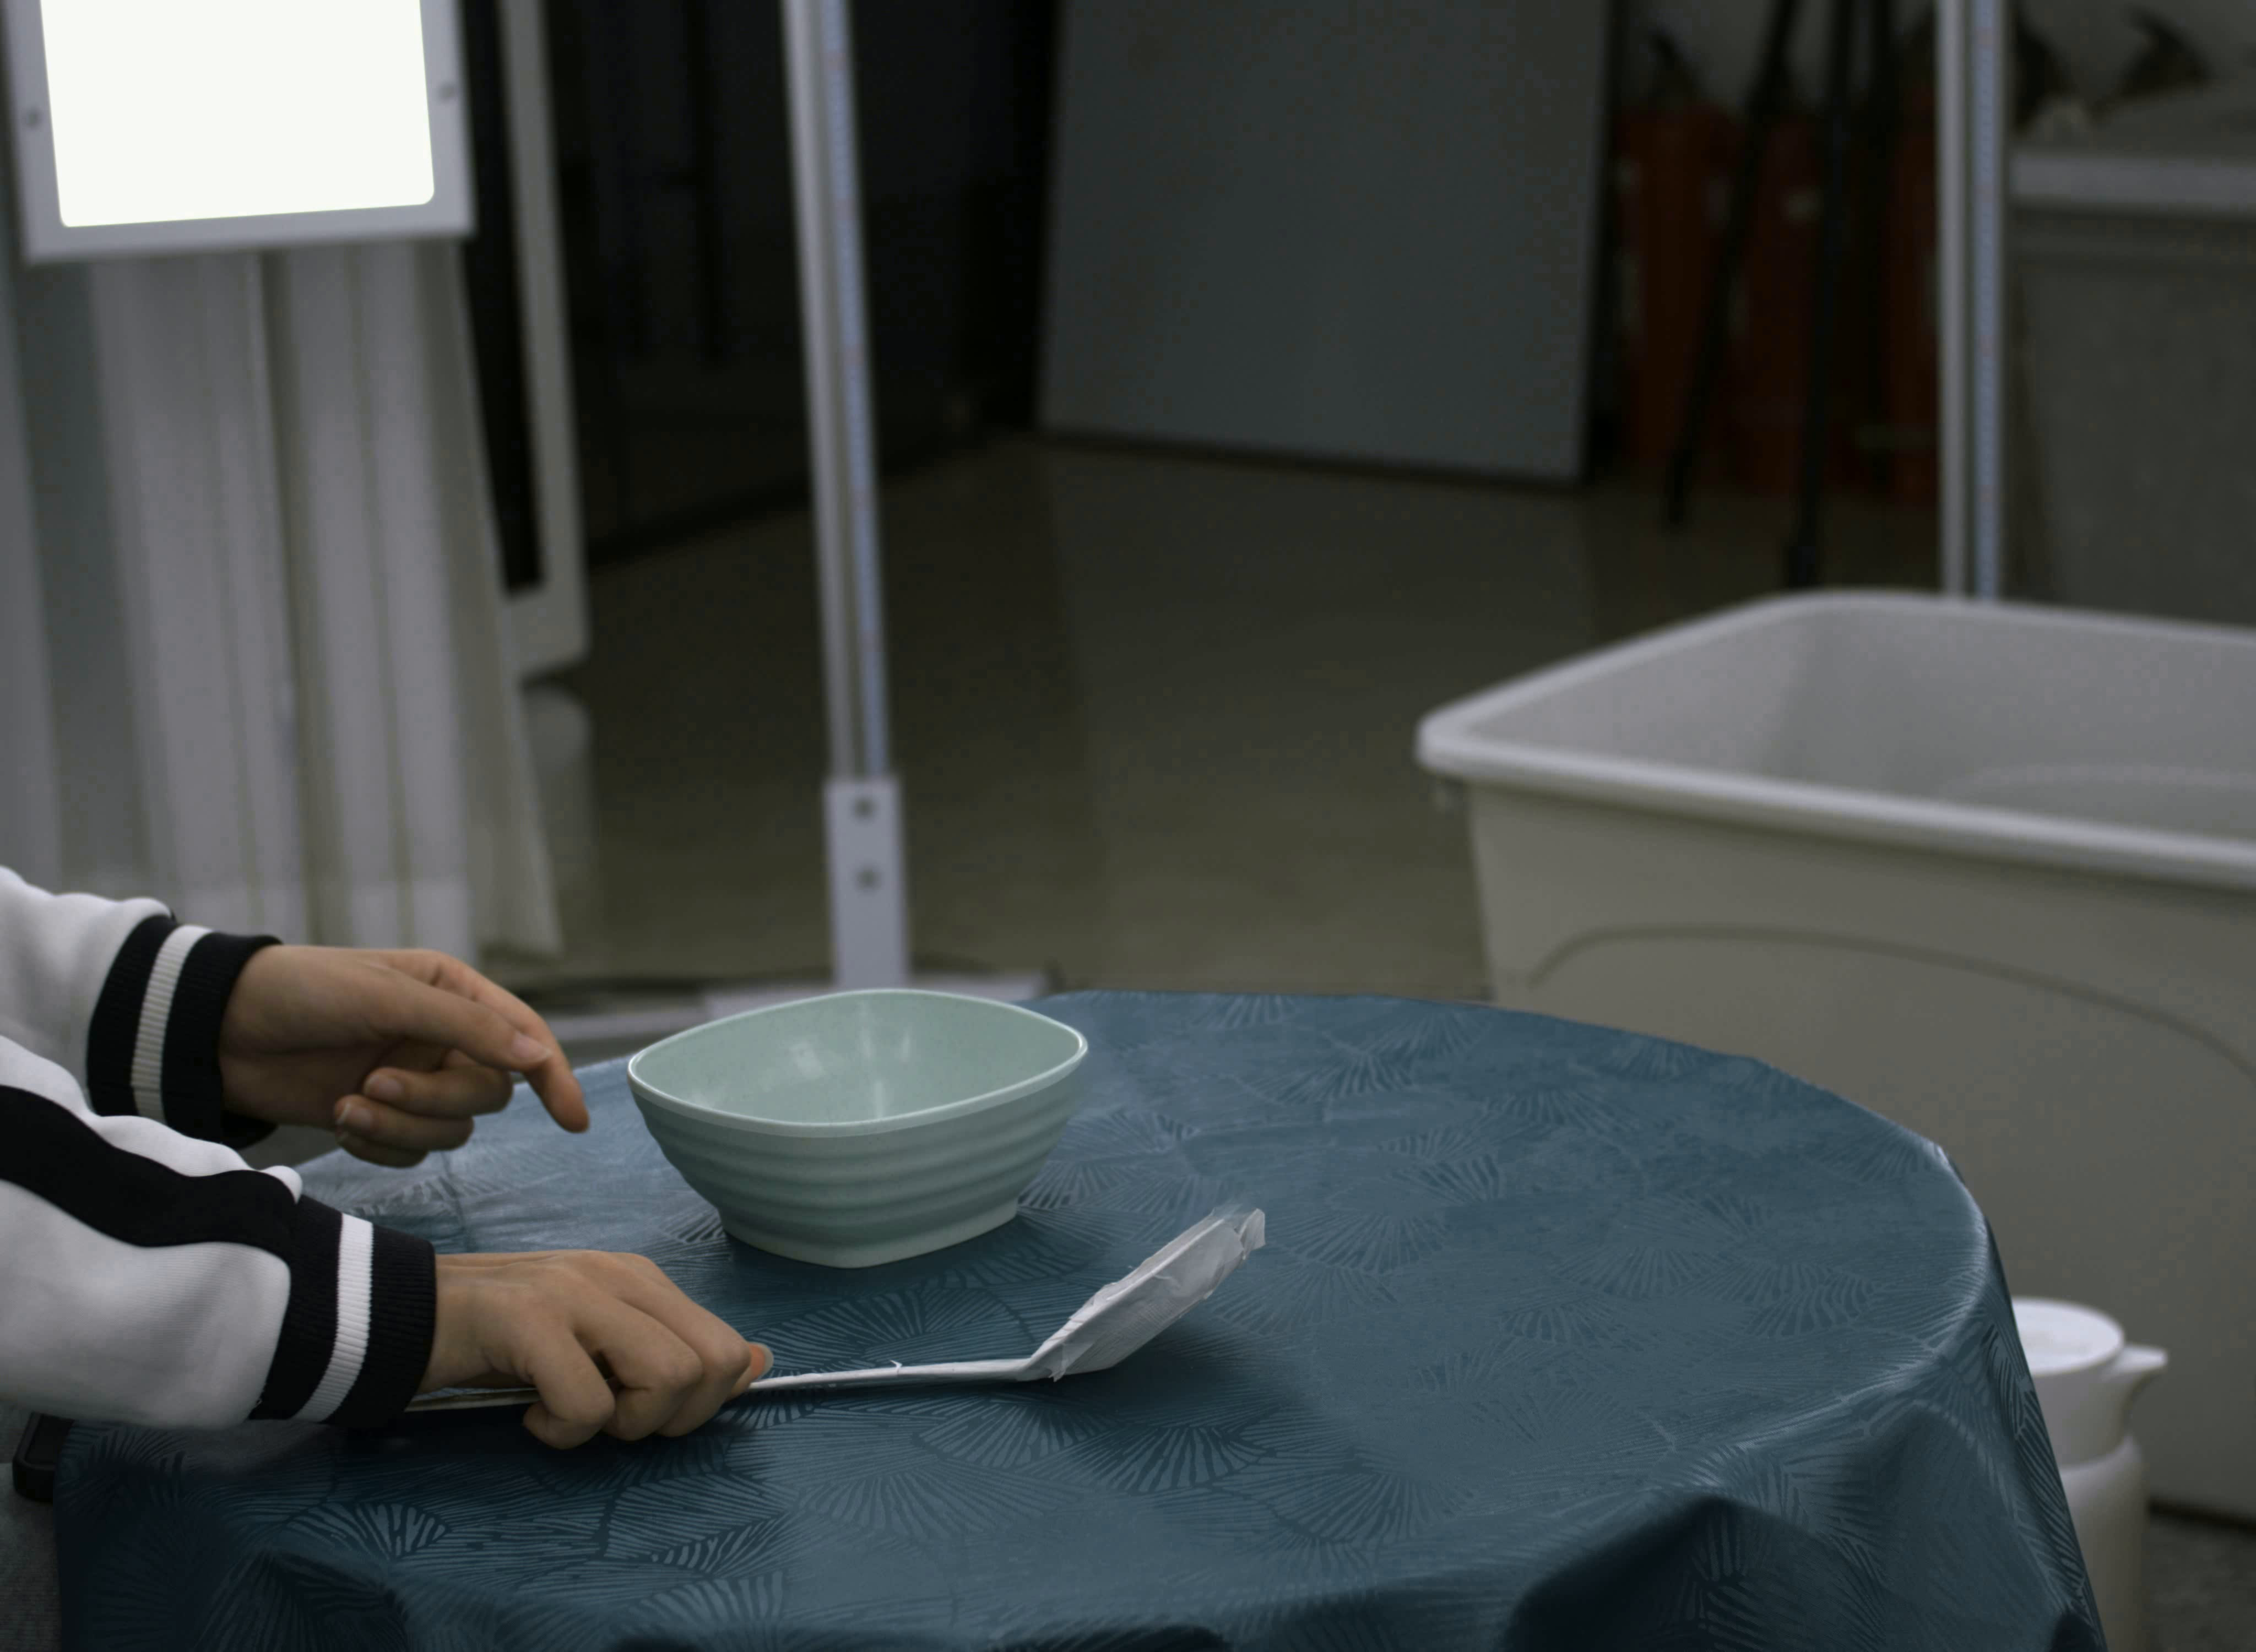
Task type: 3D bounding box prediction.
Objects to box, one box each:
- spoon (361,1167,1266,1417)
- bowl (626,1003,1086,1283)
[{"bbox_3d":[-0.093,0.139,1.610,0.275,0.060,0.100,-4,-6,6],"label":"spoon"},{"bbox_3d":[-0.086,0.105,1.752,0.149,0.059,0.151,-4,13,0],"label":"bowl"}]
